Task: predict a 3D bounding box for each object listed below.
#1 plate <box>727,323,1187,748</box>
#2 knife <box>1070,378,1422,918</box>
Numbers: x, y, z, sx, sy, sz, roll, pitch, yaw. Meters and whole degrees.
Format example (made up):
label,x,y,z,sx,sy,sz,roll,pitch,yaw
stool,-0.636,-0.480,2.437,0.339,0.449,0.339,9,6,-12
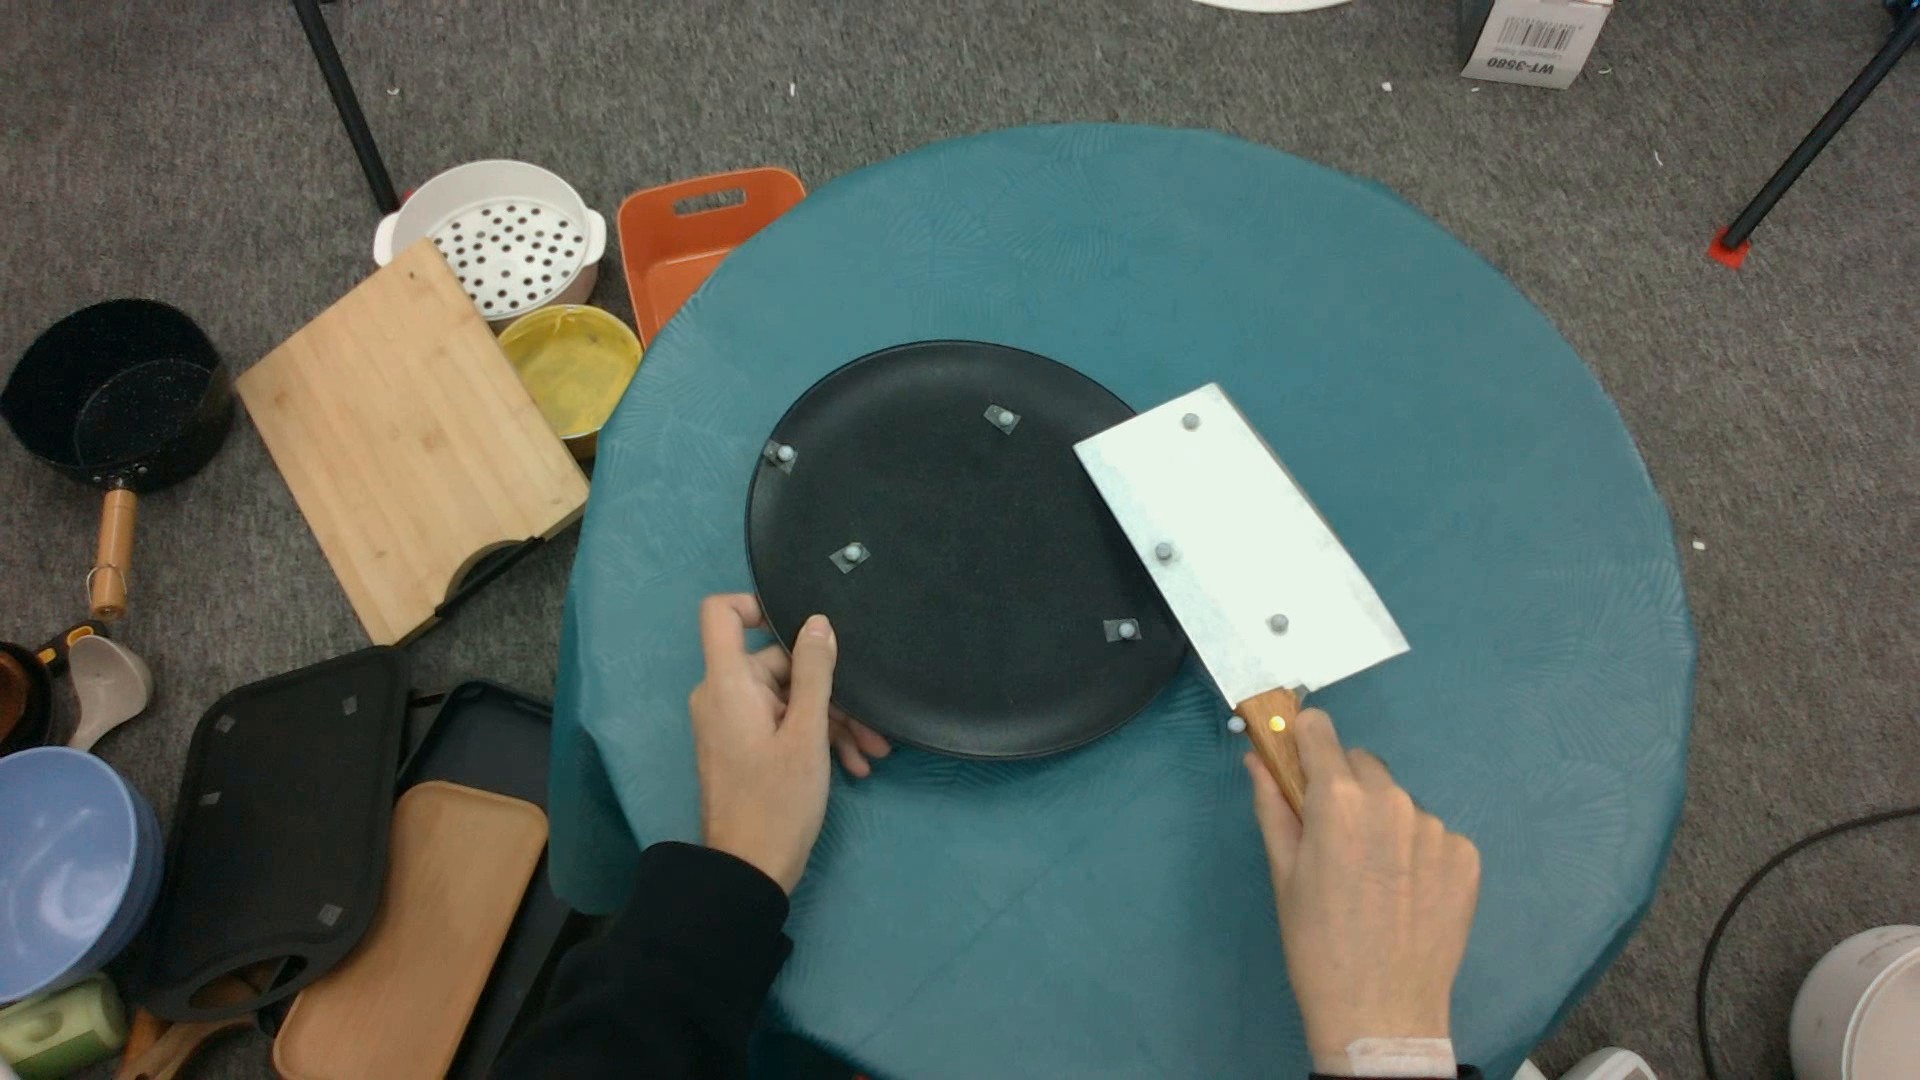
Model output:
label,x,y,z,sx,sy,sz,roll,pitch,yaw
plate,0.001,-0.007,0.713,0.244,0.023,0.245,6,62,-11
knife,0.152,0.032,0.673,0.093,0.021,0.306,-22,55,-5
